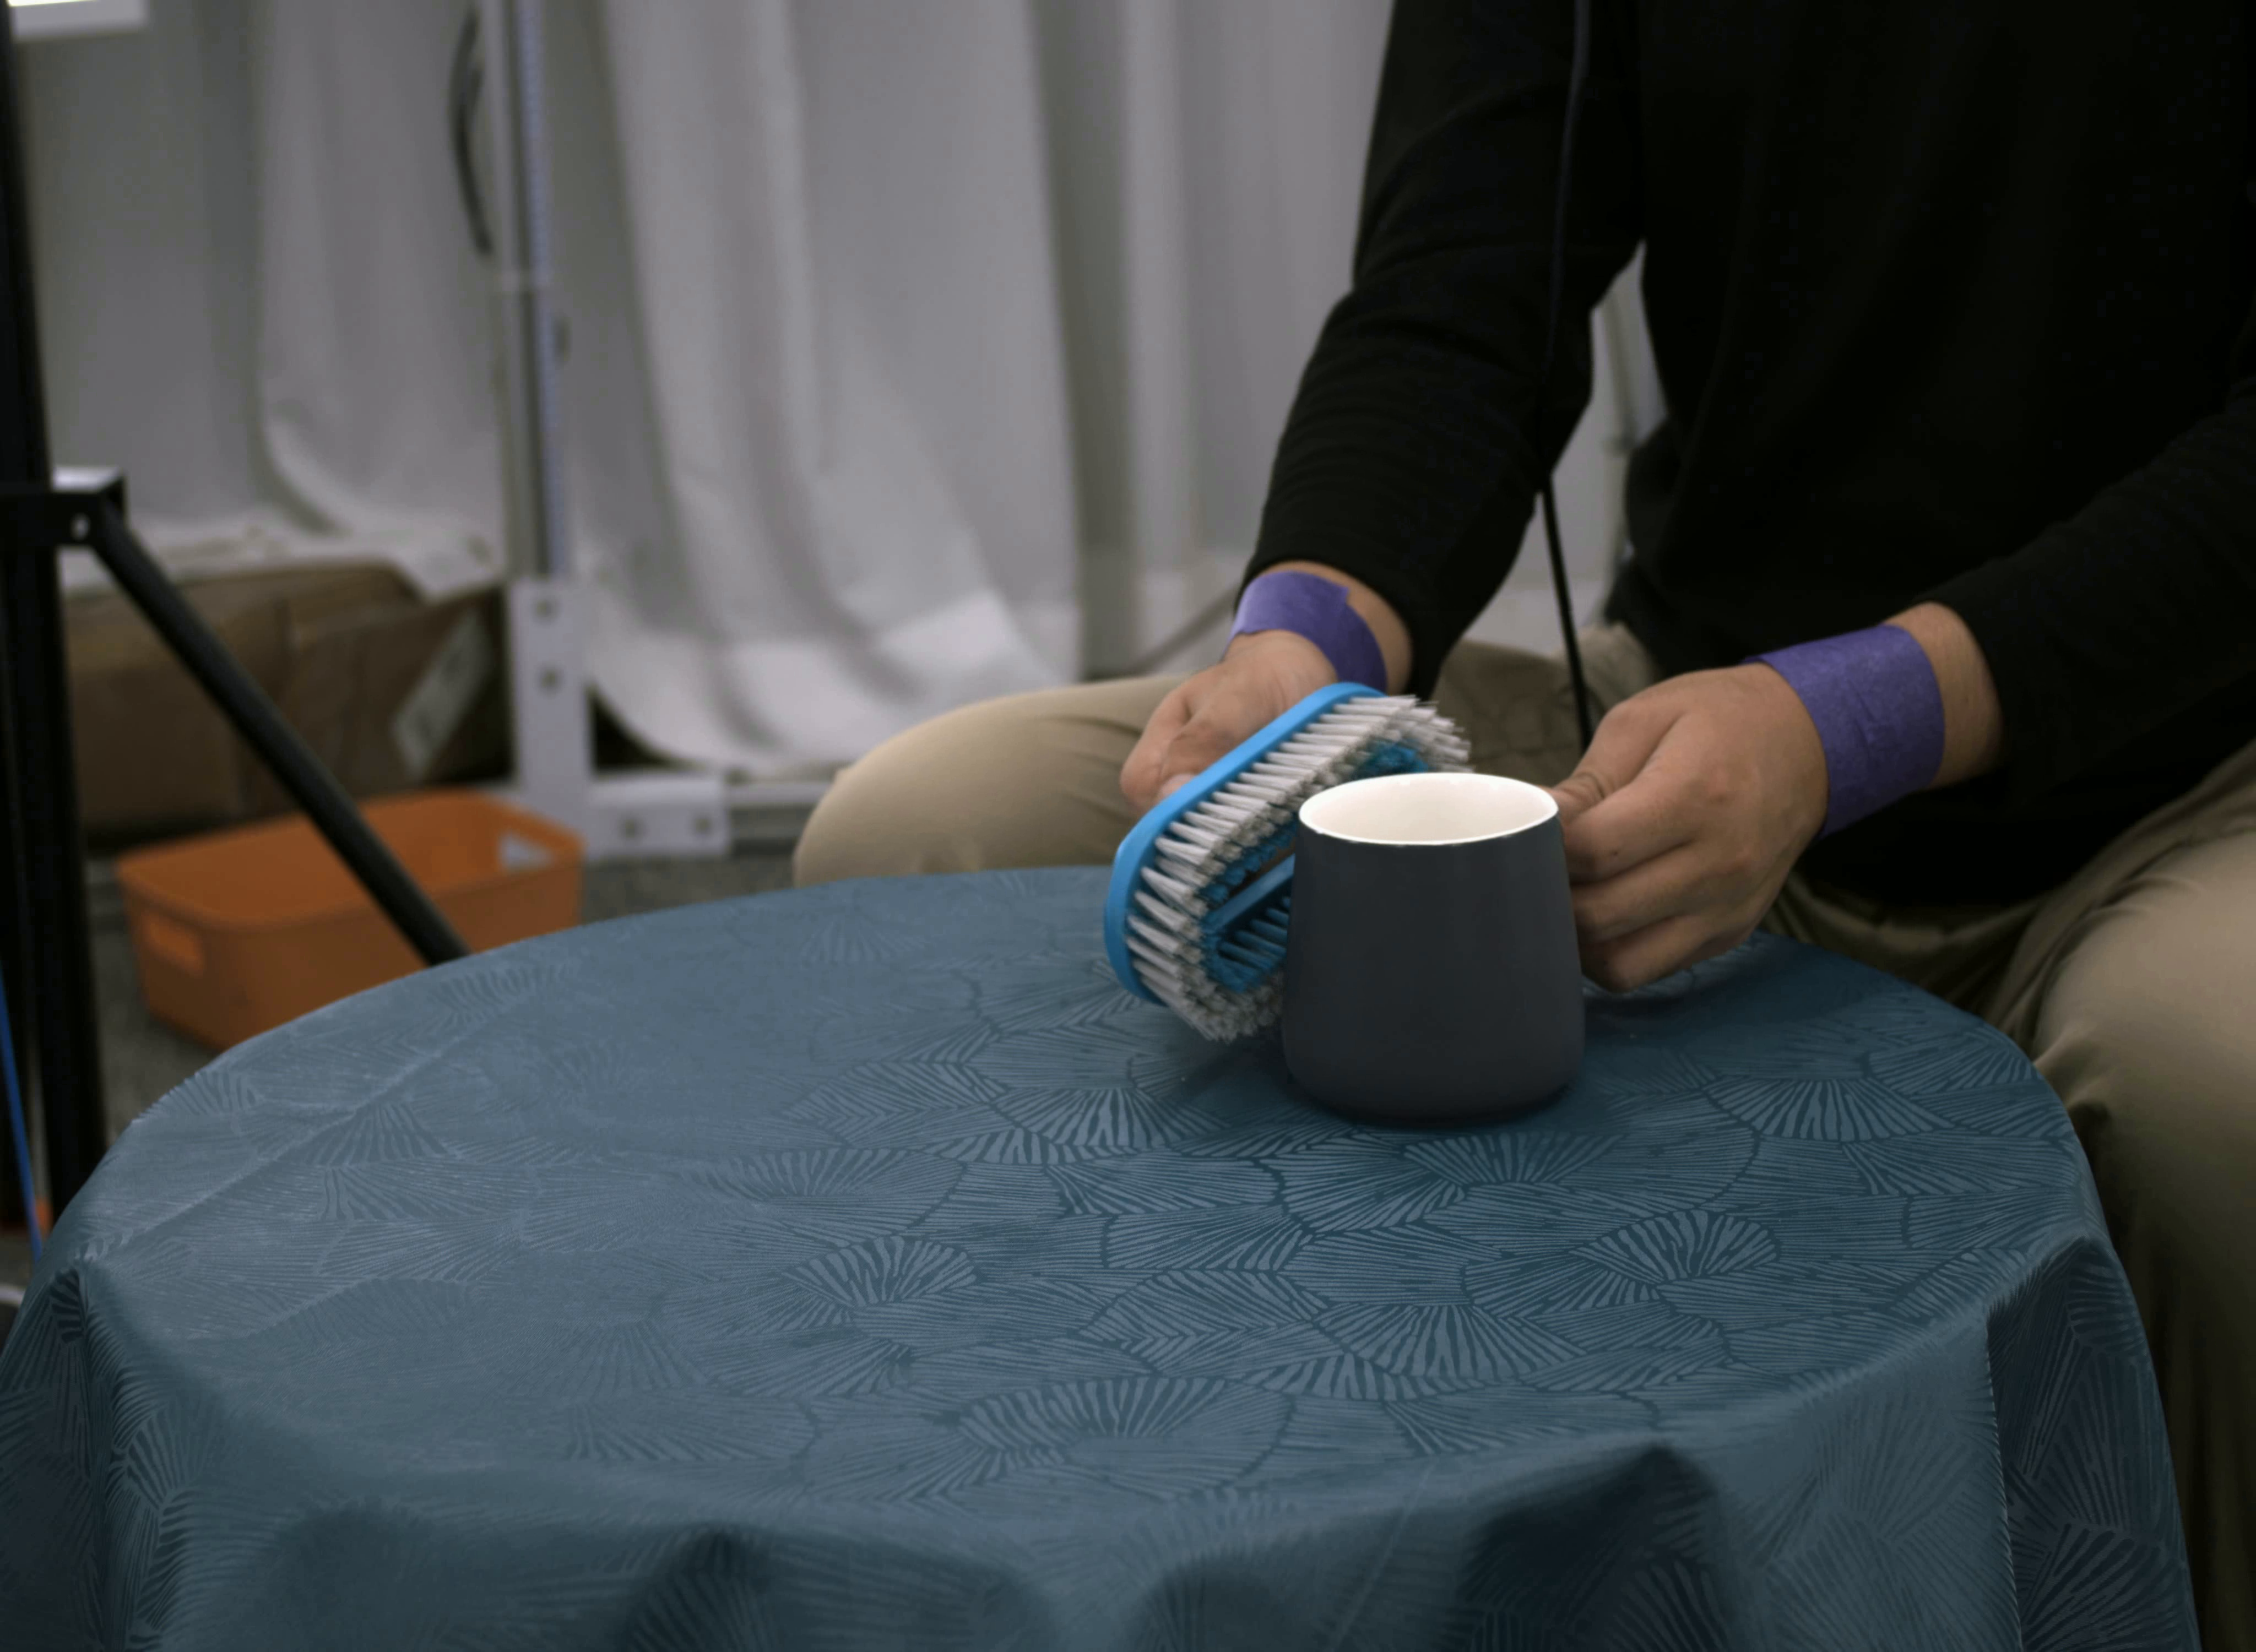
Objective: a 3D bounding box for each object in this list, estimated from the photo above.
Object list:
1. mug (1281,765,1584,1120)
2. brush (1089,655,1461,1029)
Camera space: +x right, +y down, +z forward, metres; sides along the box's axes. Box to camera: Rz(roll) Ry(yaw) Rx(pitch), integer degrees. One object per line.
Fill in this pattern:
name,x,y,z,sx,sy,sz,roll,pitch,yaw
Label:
mug,0.102,0.032,1.637,0.095,0.090,0.121,11,22,37
brush,0.038,0.002,1.674,0.140,0.083,0.065,-37,35,-30
